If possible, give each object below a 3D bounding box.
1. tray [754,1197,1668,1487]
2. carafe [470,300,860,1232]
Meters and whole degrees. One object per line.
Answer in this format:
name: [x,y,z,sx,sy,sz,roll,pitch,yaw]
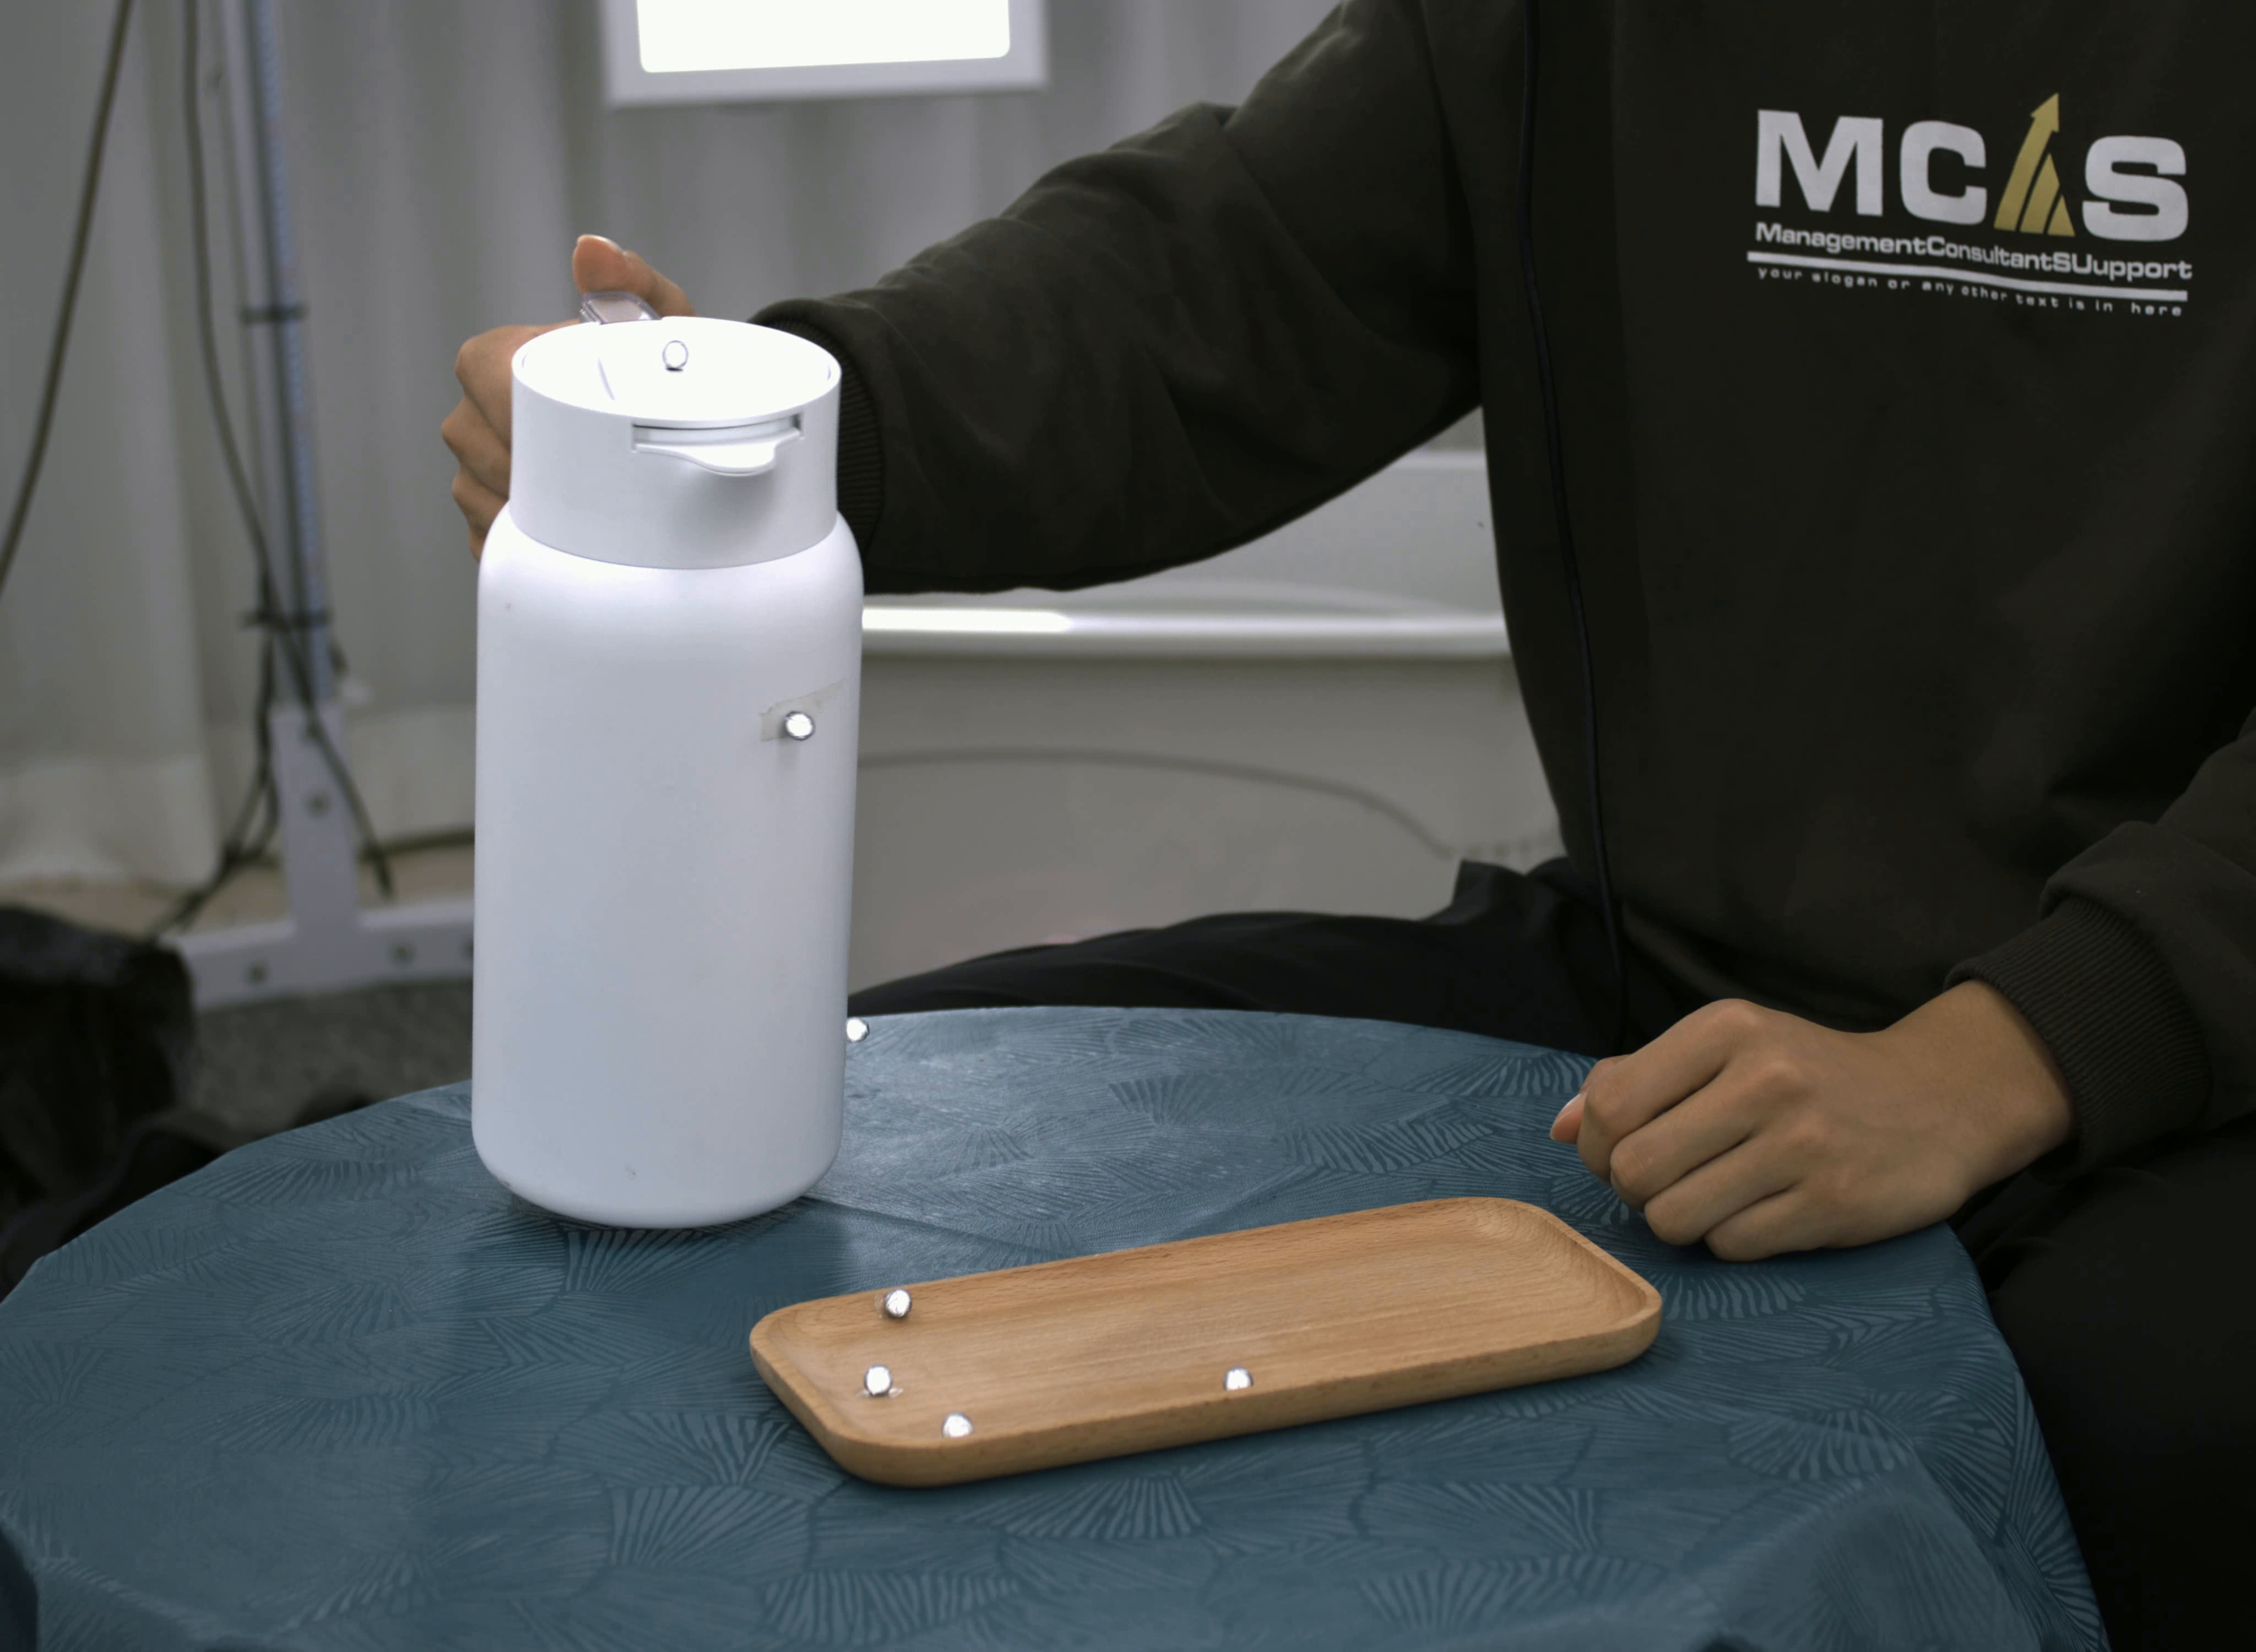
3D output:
tray: [0.024,0.147,1.565,0.249,0.023,0.132,-7,18,-18]
carafe: [-0.151,-0.022,1.704,0.123,0.267,0.175,-8,24,-21]
